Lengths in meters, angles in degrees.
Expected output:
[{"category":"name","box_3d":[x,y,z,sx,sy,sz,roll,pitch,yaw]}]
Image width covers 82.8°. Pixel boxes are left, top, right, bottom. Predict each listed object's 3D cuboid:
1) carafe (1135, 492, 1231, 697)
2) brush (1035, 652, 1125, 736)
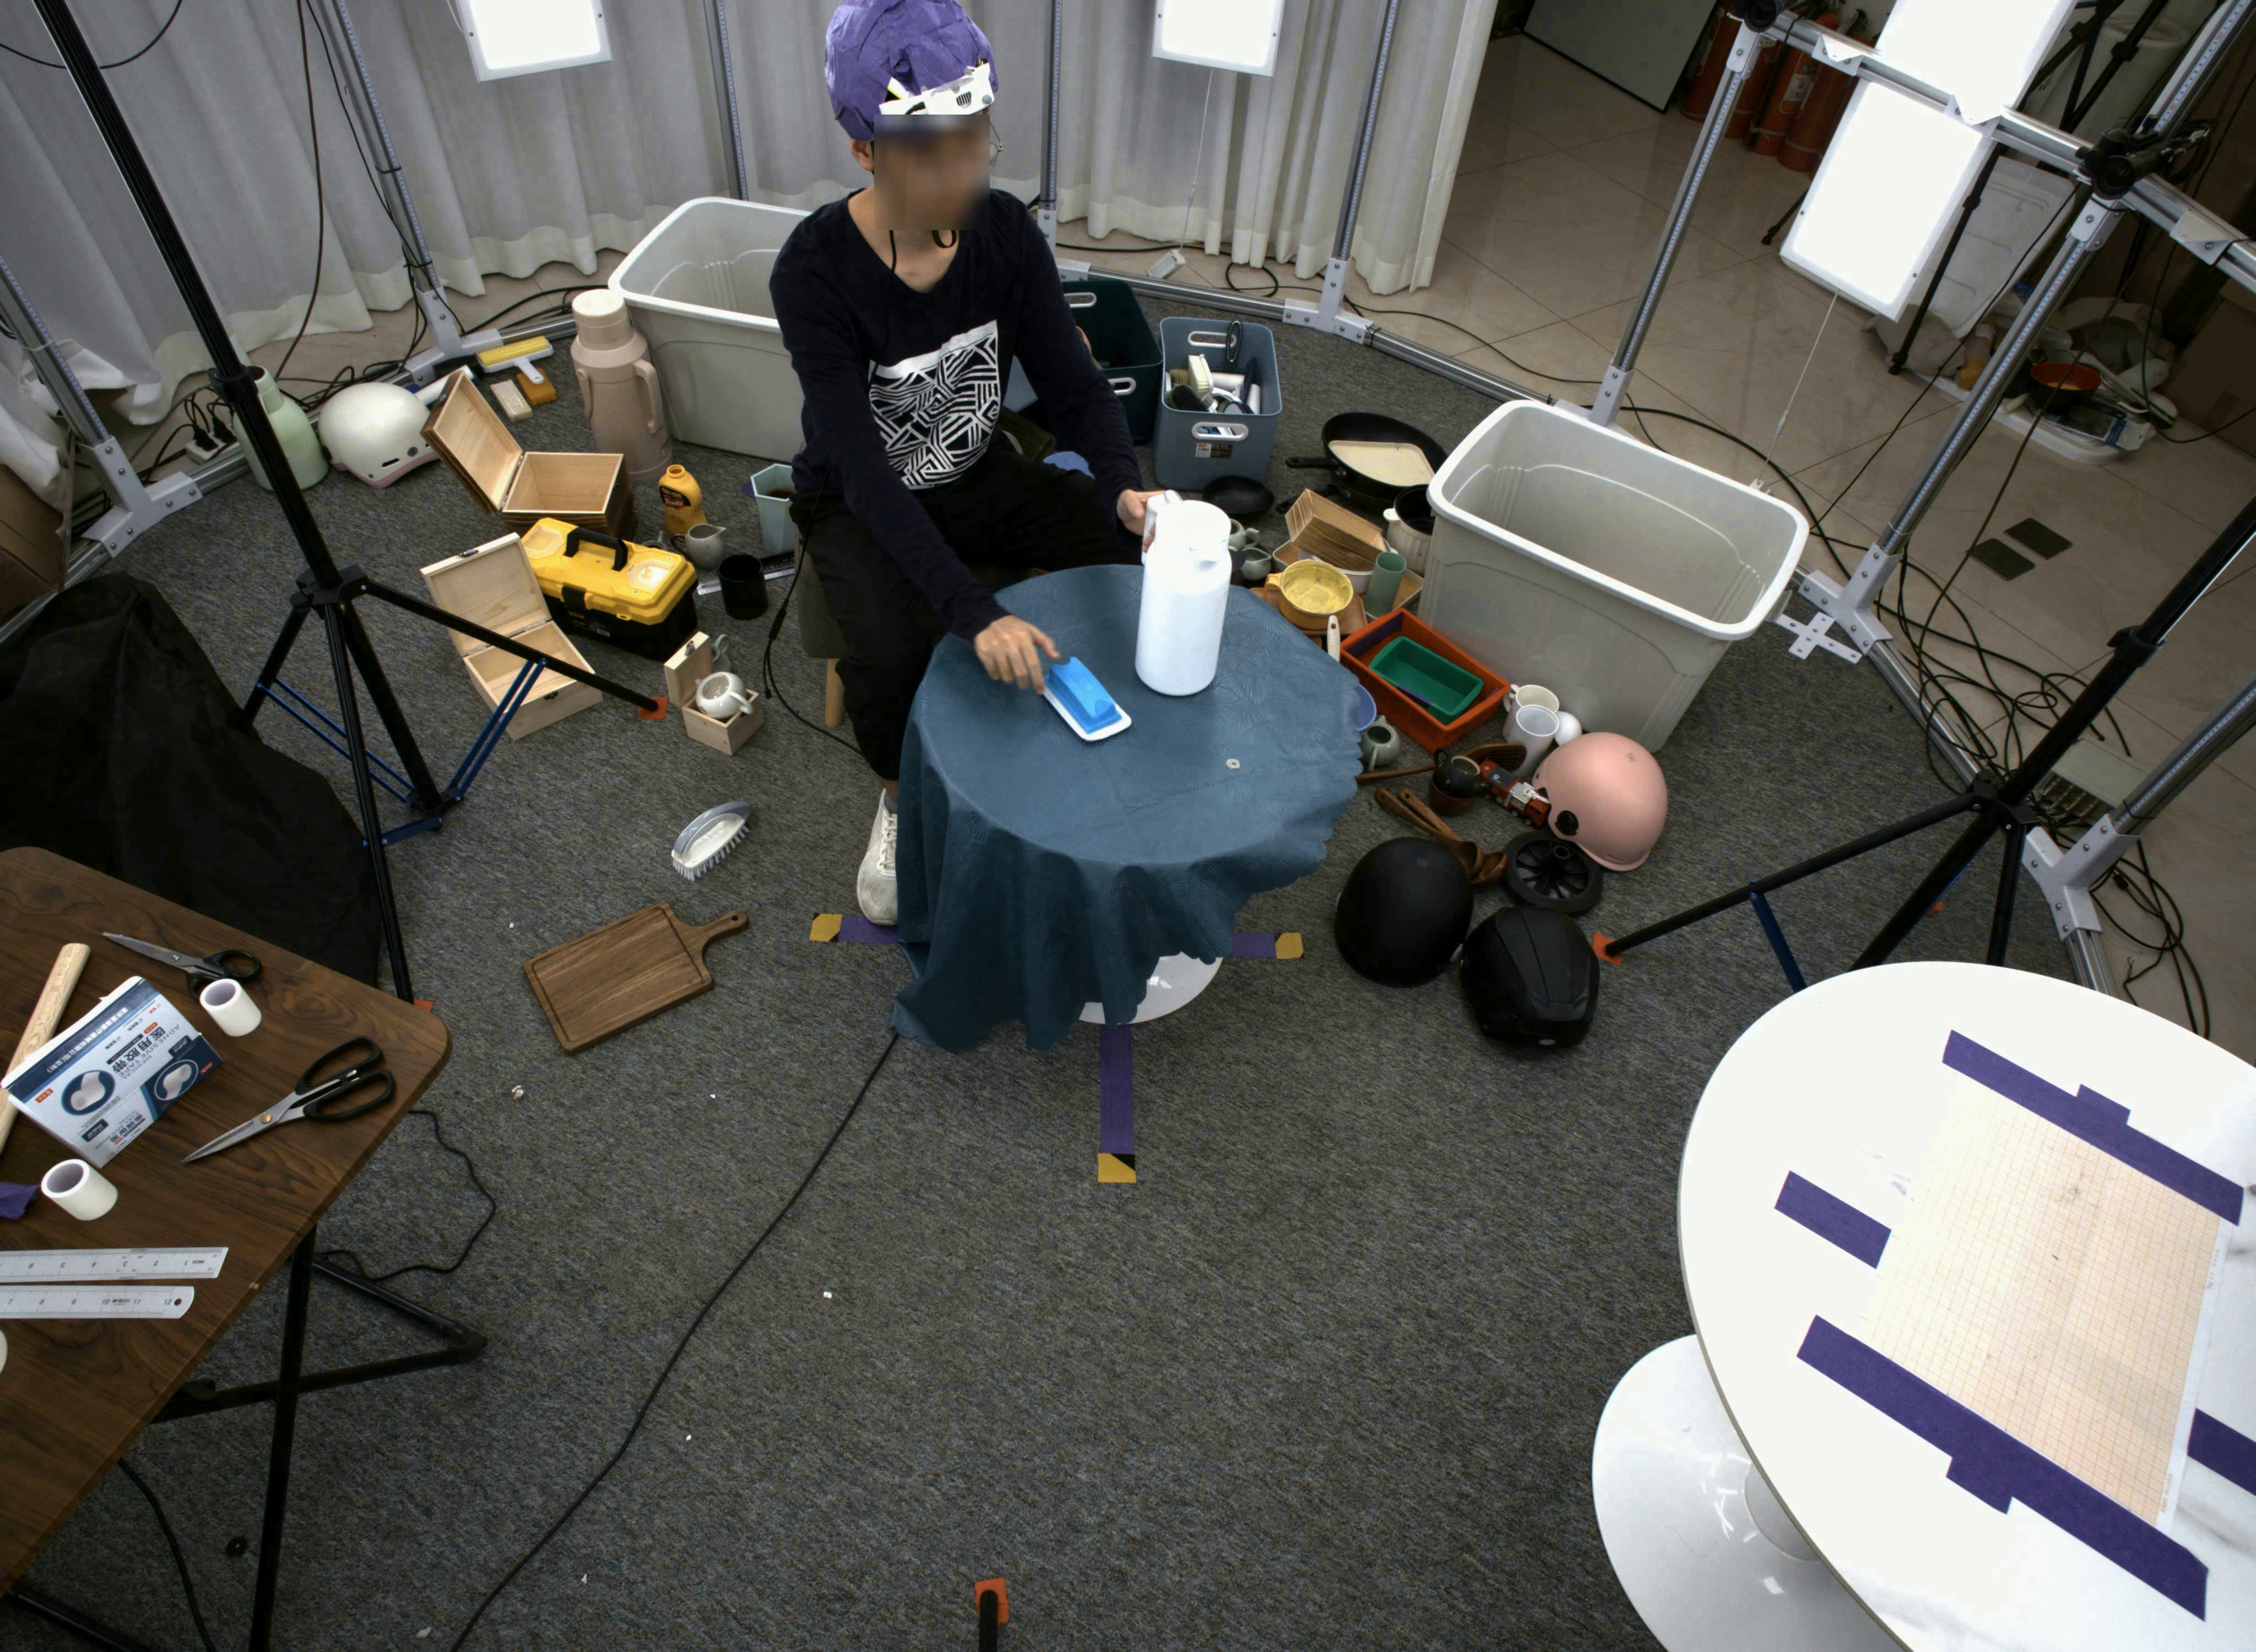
[{"category":"carafe","box_3d":[0.067,-0.322,1.781,0.124,0.262,0.176,-20,52,-19]},{"category":"brush","box_3d":[-0.065,-0.191,1.788,0.084,0.054,0.147,-21,56,-24]}]
